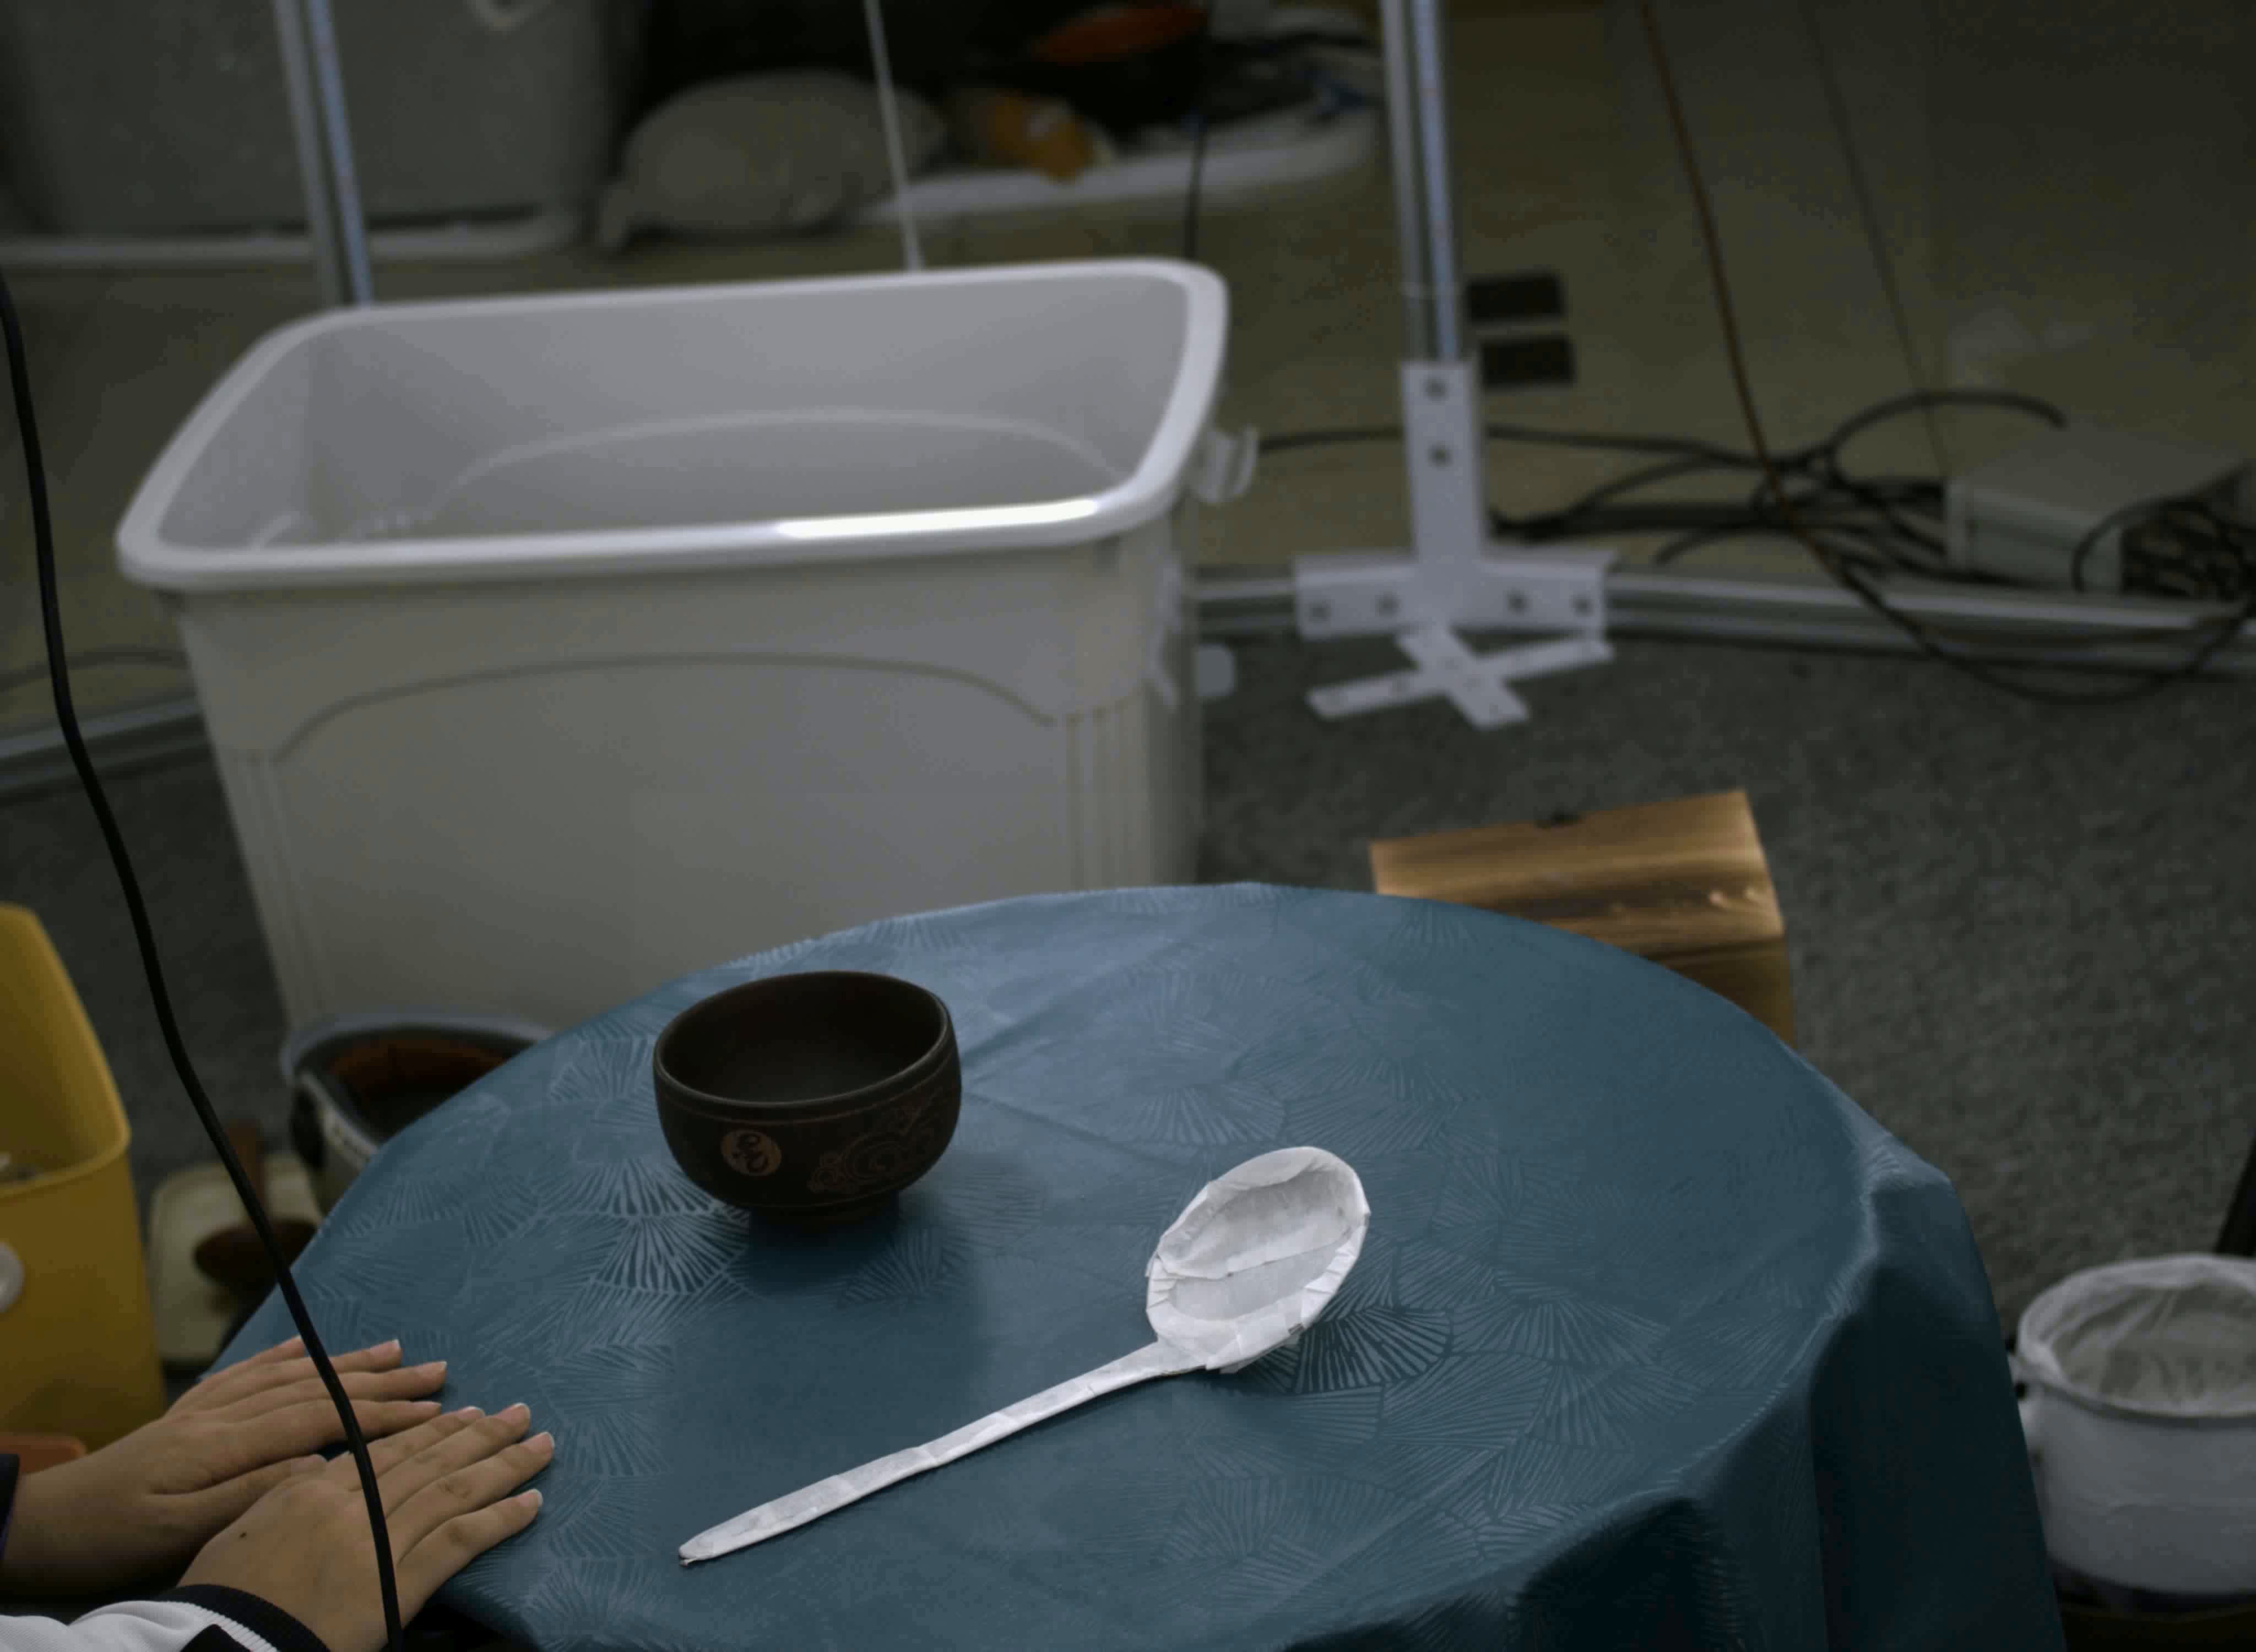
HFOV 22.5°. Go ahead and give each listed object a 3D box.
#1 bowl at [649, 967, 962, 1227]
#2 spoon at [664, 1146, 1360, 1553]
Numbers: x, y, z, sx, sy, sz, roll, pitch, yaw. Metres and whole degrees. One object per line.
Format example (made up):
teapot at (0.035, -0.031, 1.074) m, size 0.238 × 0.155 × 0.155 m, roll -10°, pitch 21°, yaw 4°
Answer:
bowl at (-0.120, 0.109, 2.155) m, size 0.118 × 0.071 × 0.116 m, roll -6°, pitch 25°, yaw 3°
spoon at (-0.043, 0.182, 1.998) m, size 0.276 × 0.060 × 0.099 m, roll -18°, pitch 24°, yaw -23°
